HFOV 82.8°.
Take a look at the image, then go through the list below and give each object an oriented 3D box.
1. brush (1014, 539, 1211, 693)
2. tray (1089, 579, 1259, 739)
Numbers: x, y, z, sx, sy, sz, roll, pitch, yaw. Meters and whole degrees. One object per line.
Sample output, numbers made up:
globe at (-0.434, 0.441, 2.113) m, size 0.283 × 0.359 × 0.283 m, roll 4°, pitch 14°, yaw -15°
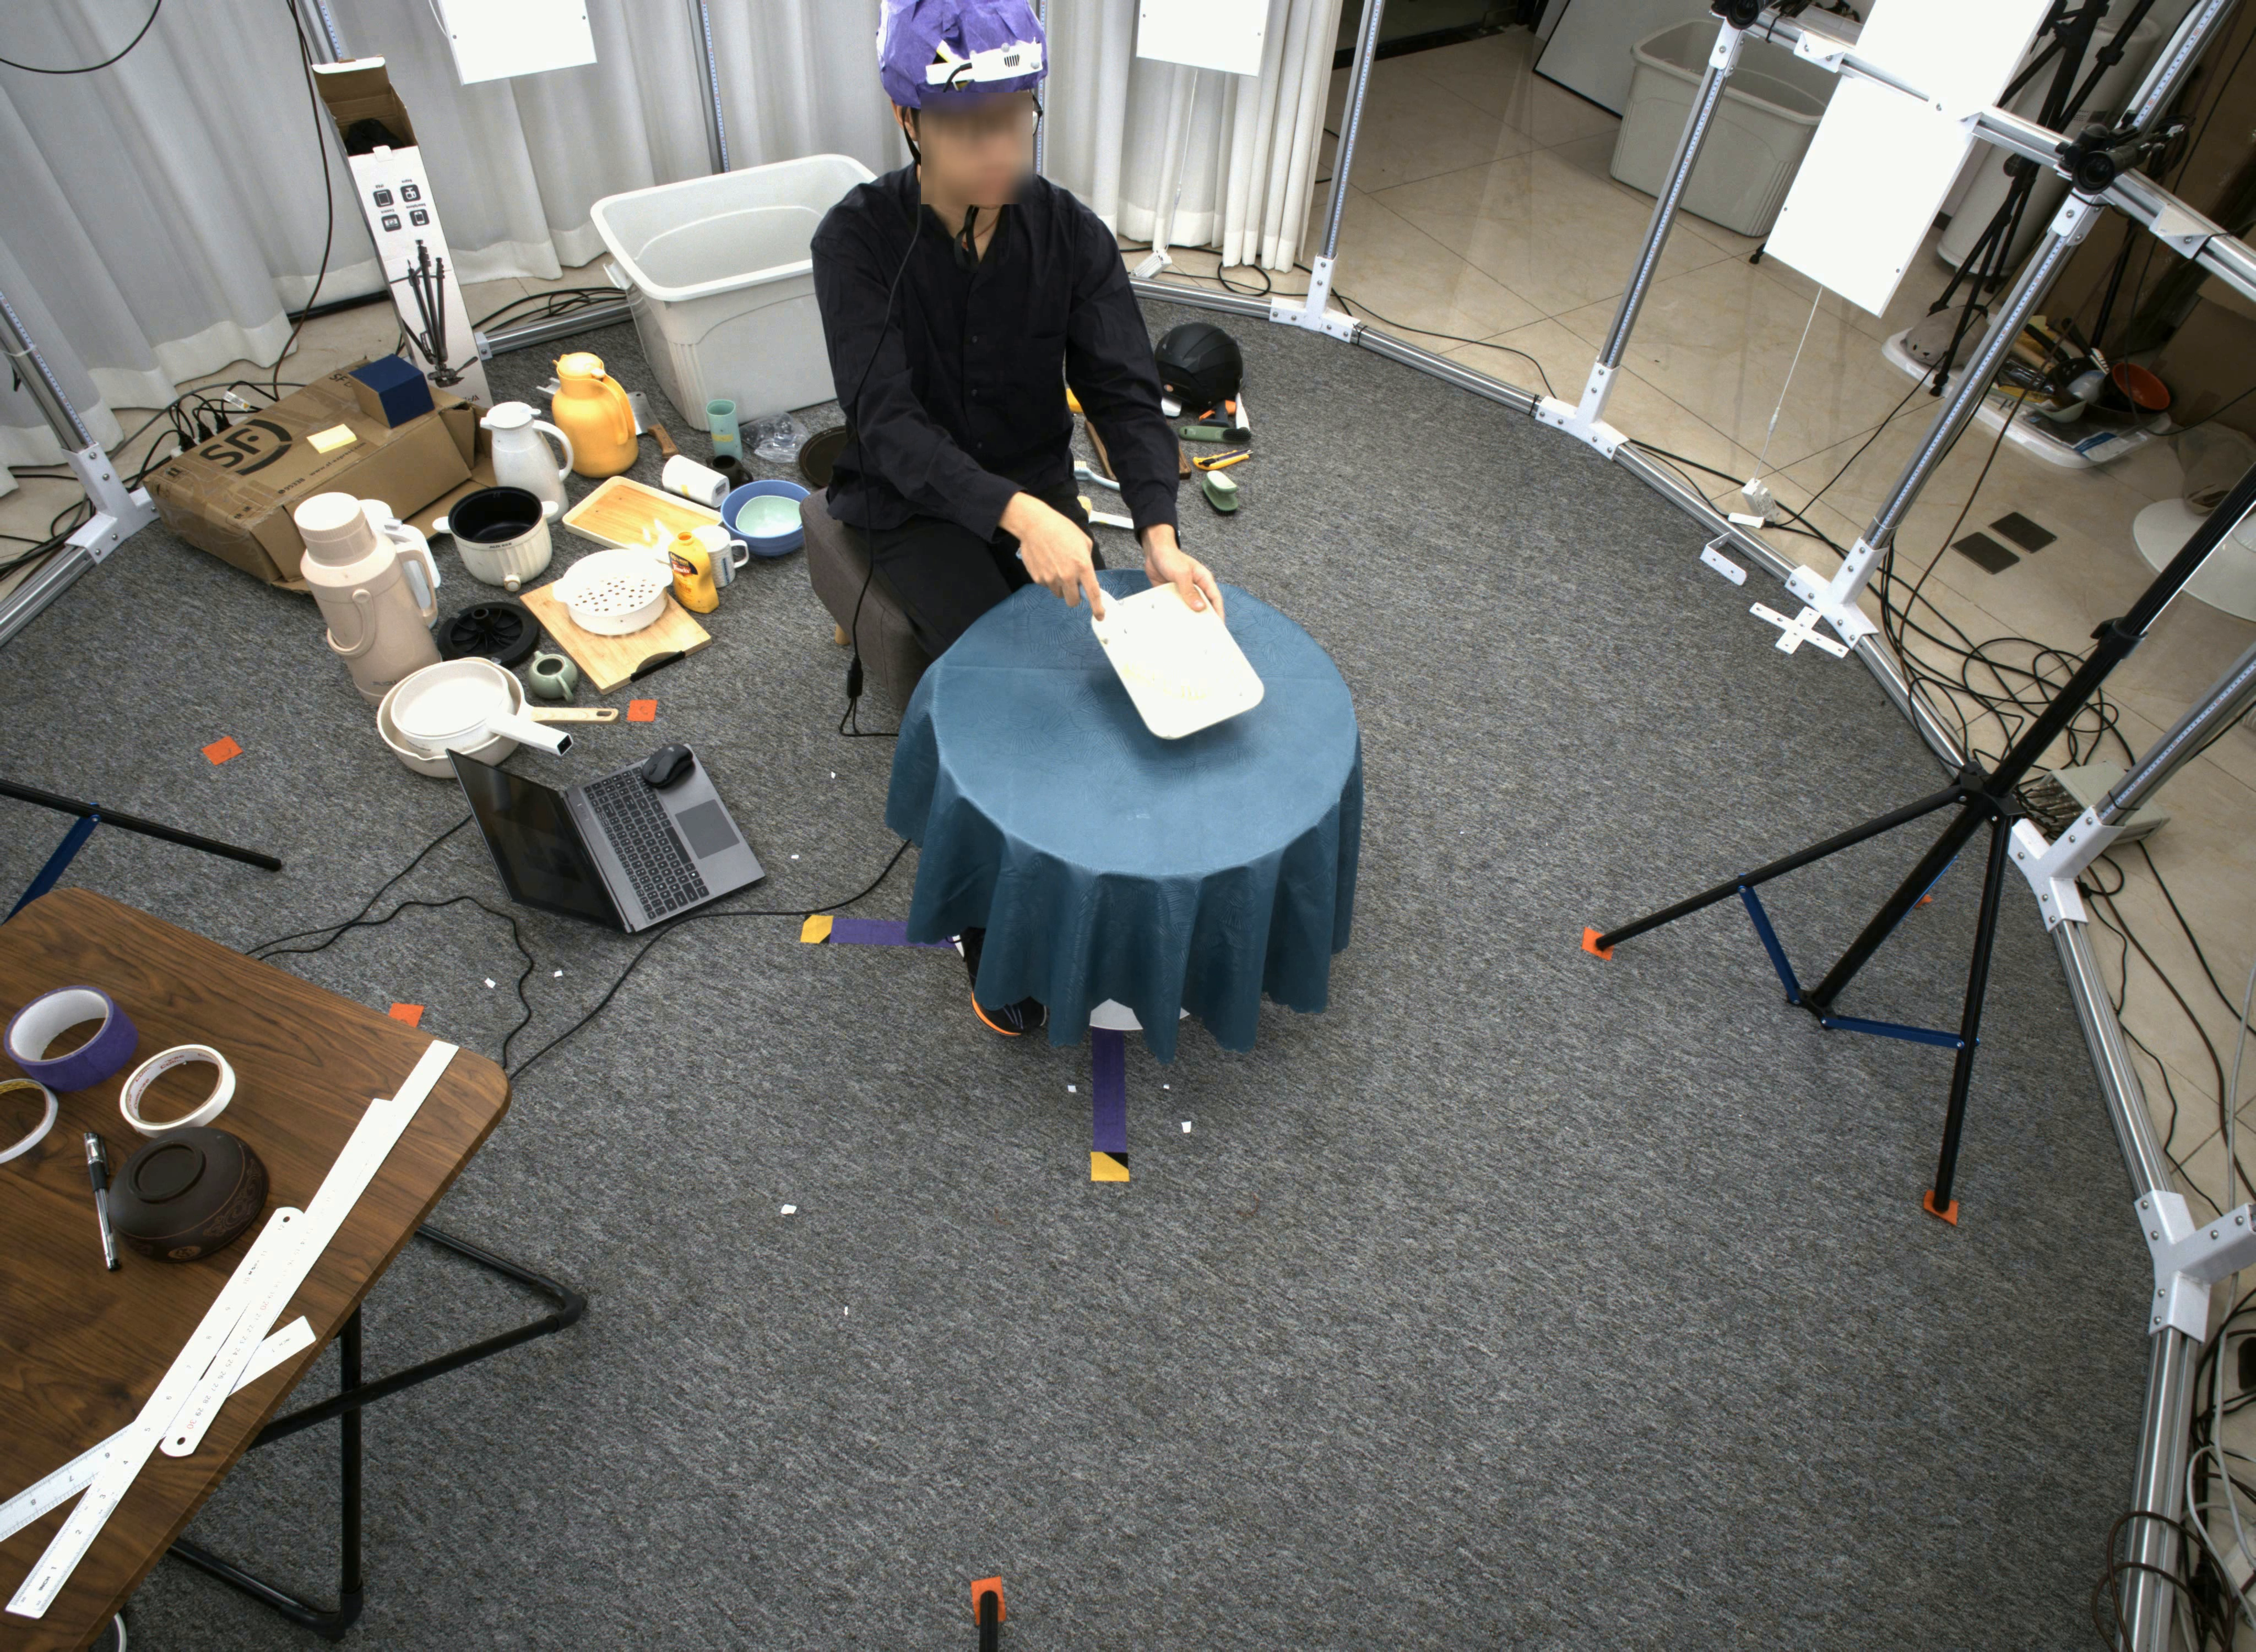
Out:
brush at (-0.023, -0.286, 1.774) m, size 0.326 × 0.083 × 0.084 m, roll 35°, pitch 30°, yaw 6°
tray at (0.062, -0.233, 1.785) m, size 0.171 × 0.017 × 0.244 m, roll -21°, pitch 63°, yaw -13°
